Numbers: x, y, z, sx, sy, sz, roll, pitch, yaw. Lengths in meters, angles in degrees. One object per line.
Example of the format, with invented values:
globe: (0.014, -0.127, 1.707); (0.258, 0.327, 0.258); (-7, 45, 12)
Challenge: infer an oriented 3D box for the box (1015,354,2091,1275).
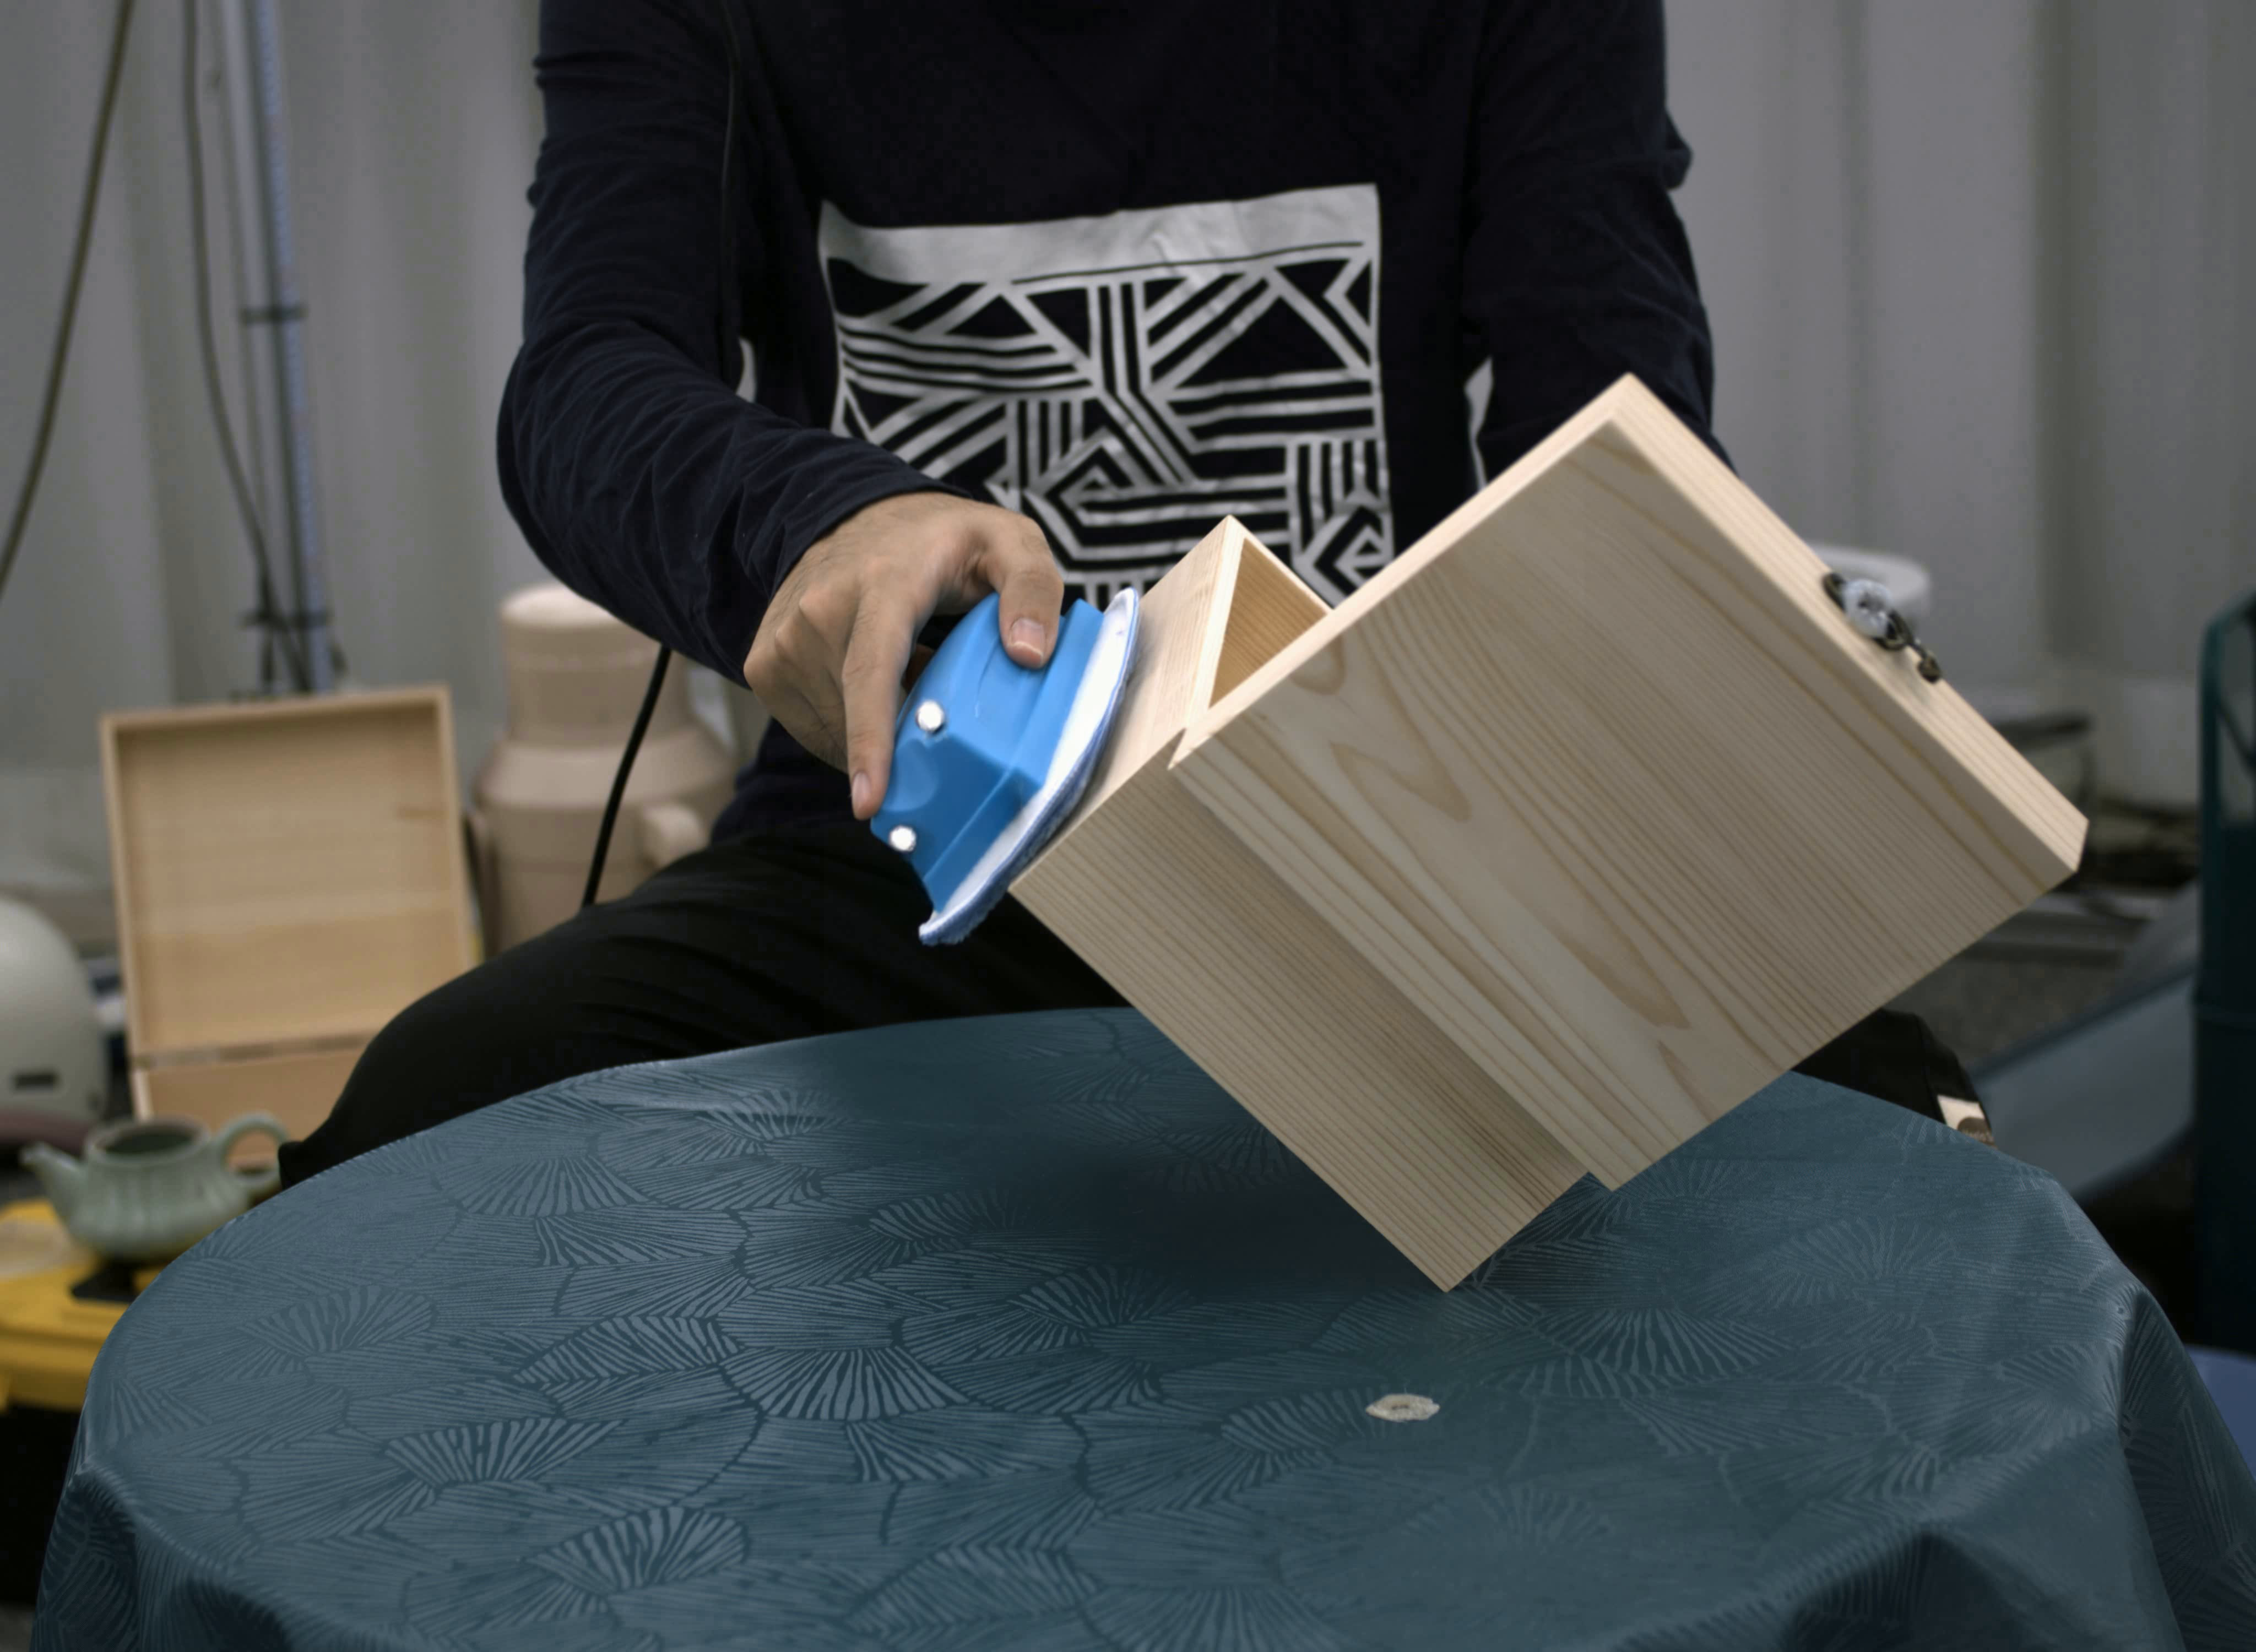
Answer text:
box: (0.120, -0.029, 1.605); (0.252, 0.181, 0.268); (-45, 13, 20)

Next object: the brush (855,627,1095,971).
brush: (-0.054, -0.014, 1.648); (0.083, 0.055, 0.145); (-41, 16, 16)
